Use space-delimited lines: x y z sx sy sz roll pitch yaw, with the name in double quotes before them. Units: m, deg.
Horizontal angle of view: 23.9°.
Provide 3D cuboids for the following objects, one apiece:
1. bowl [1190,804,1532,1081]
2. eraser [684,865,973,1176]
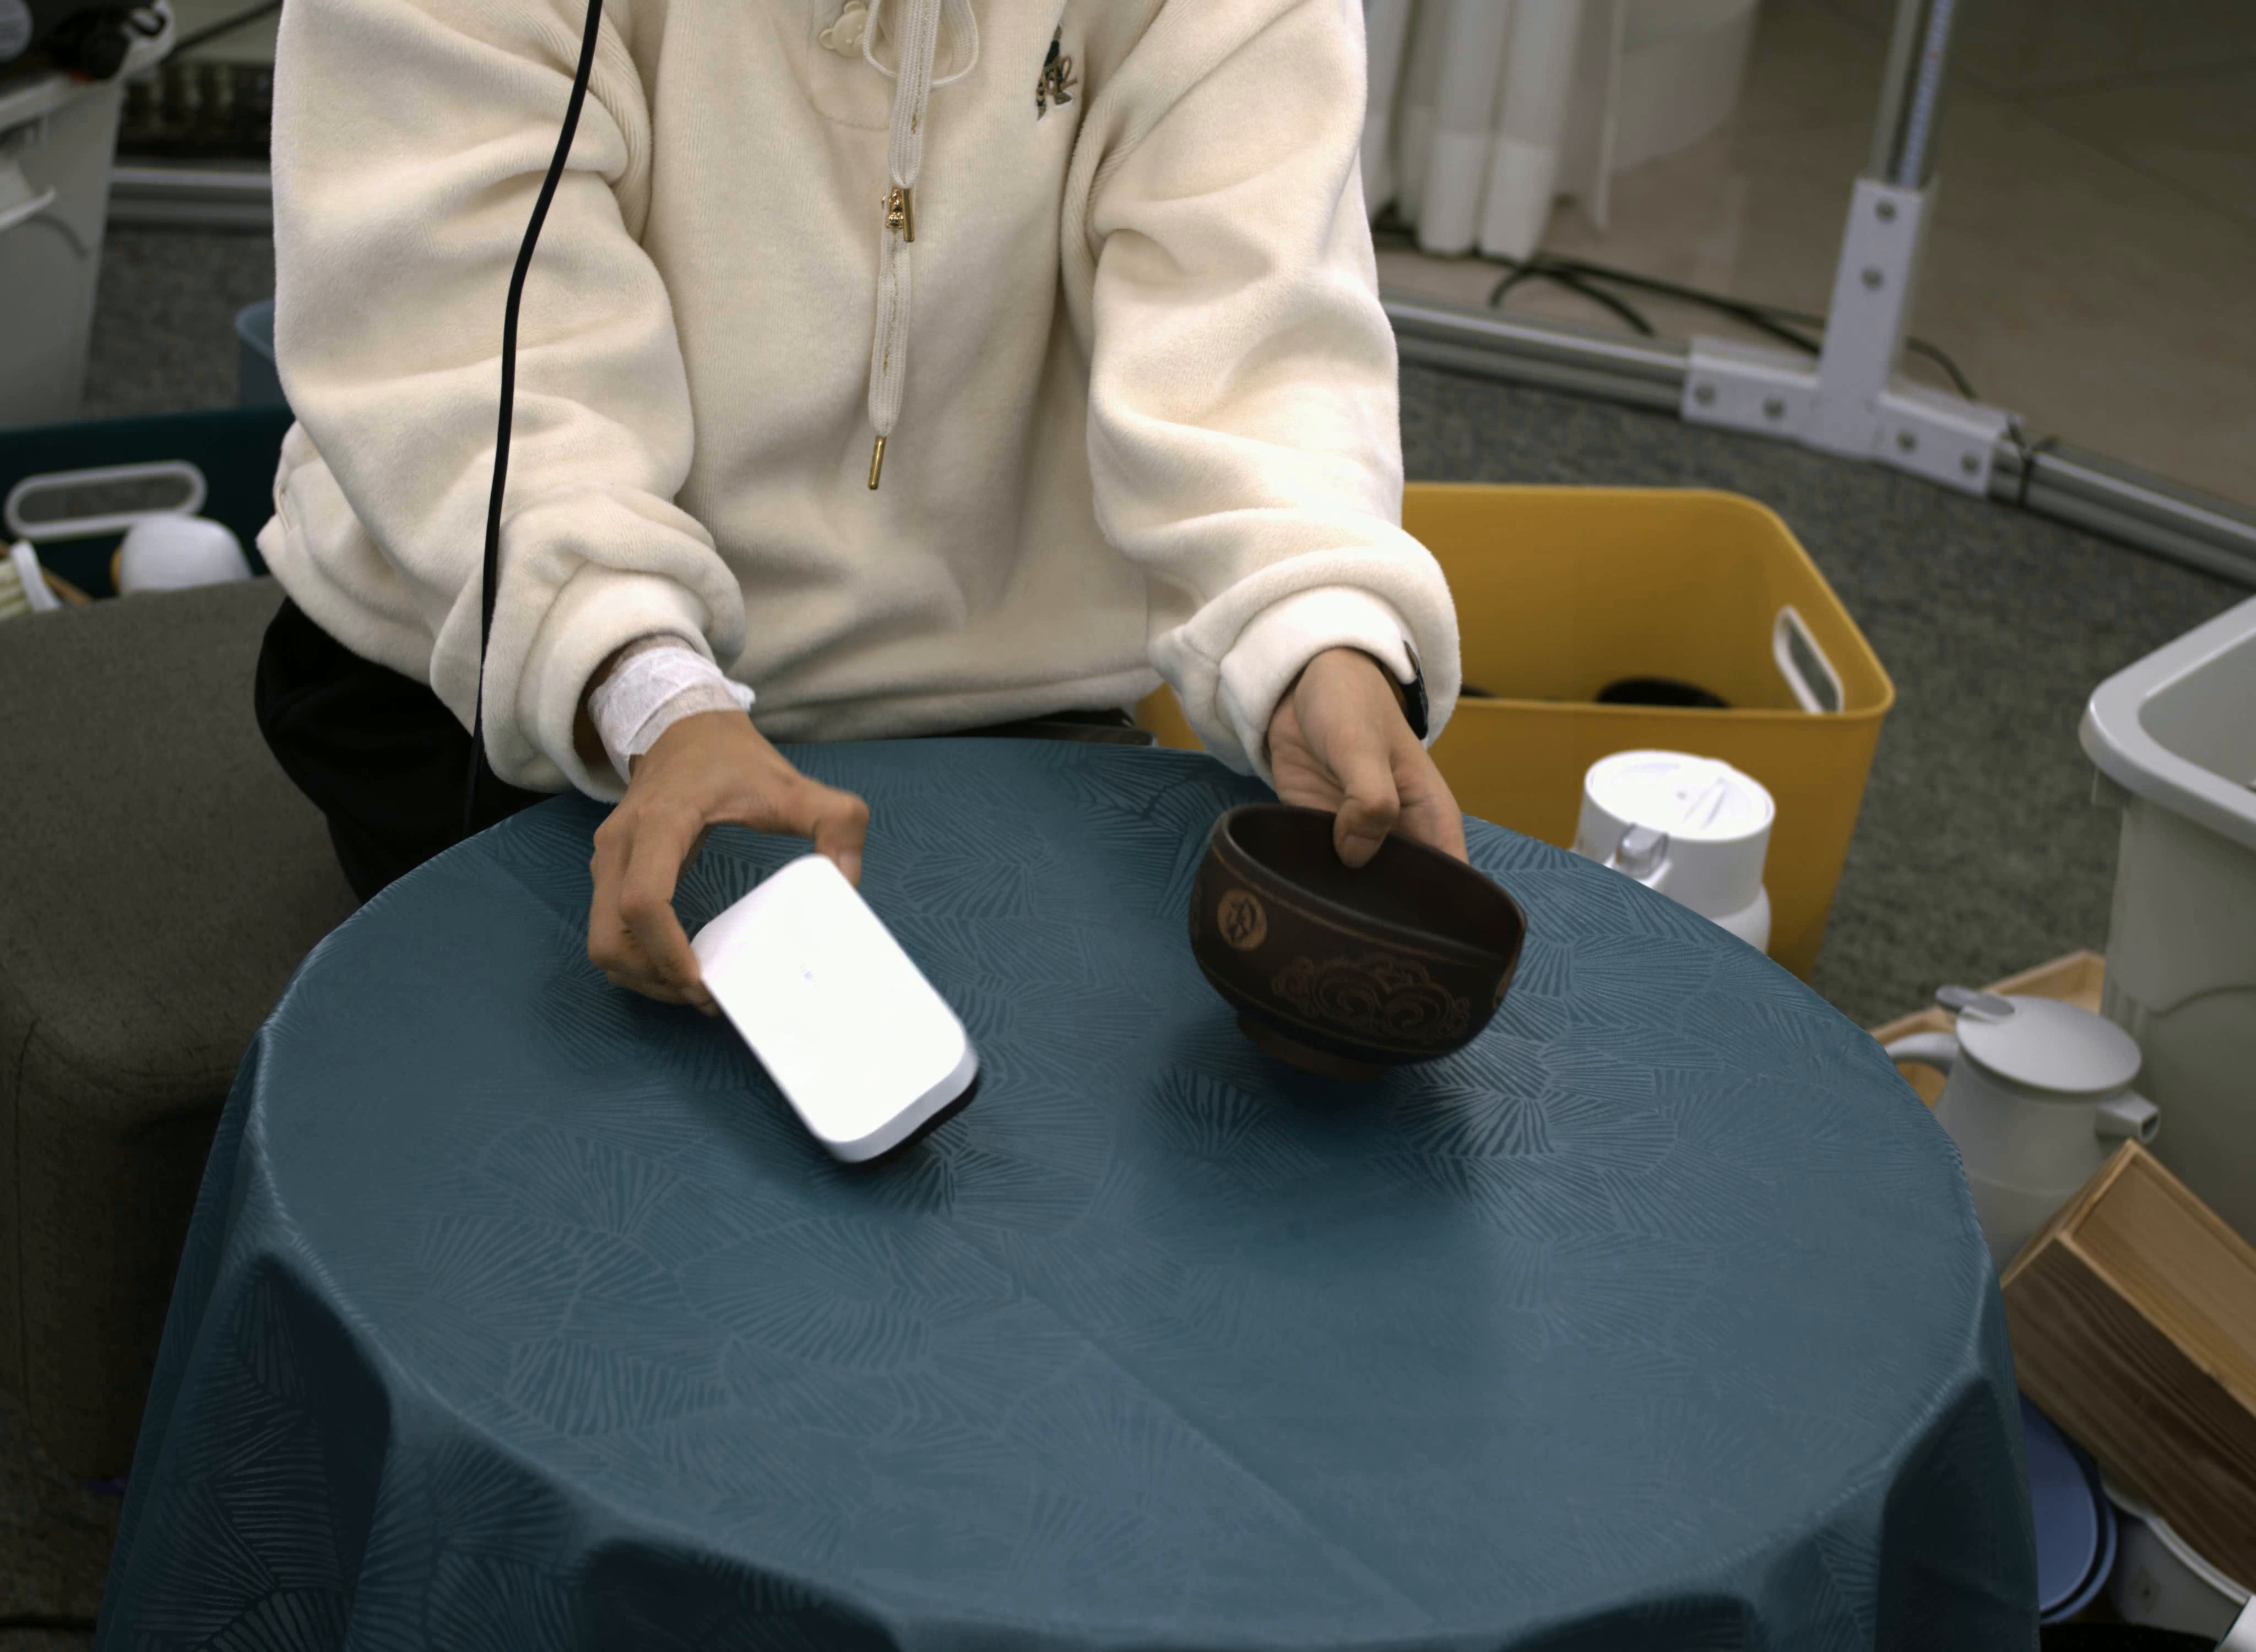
"bowl" 0.076 0.046 1.867 0.117 0.070 0.118 18 15 -5
"eraser" -0.102 0.064 1.826 0.063 0.034 0.132 -34 43 -6
